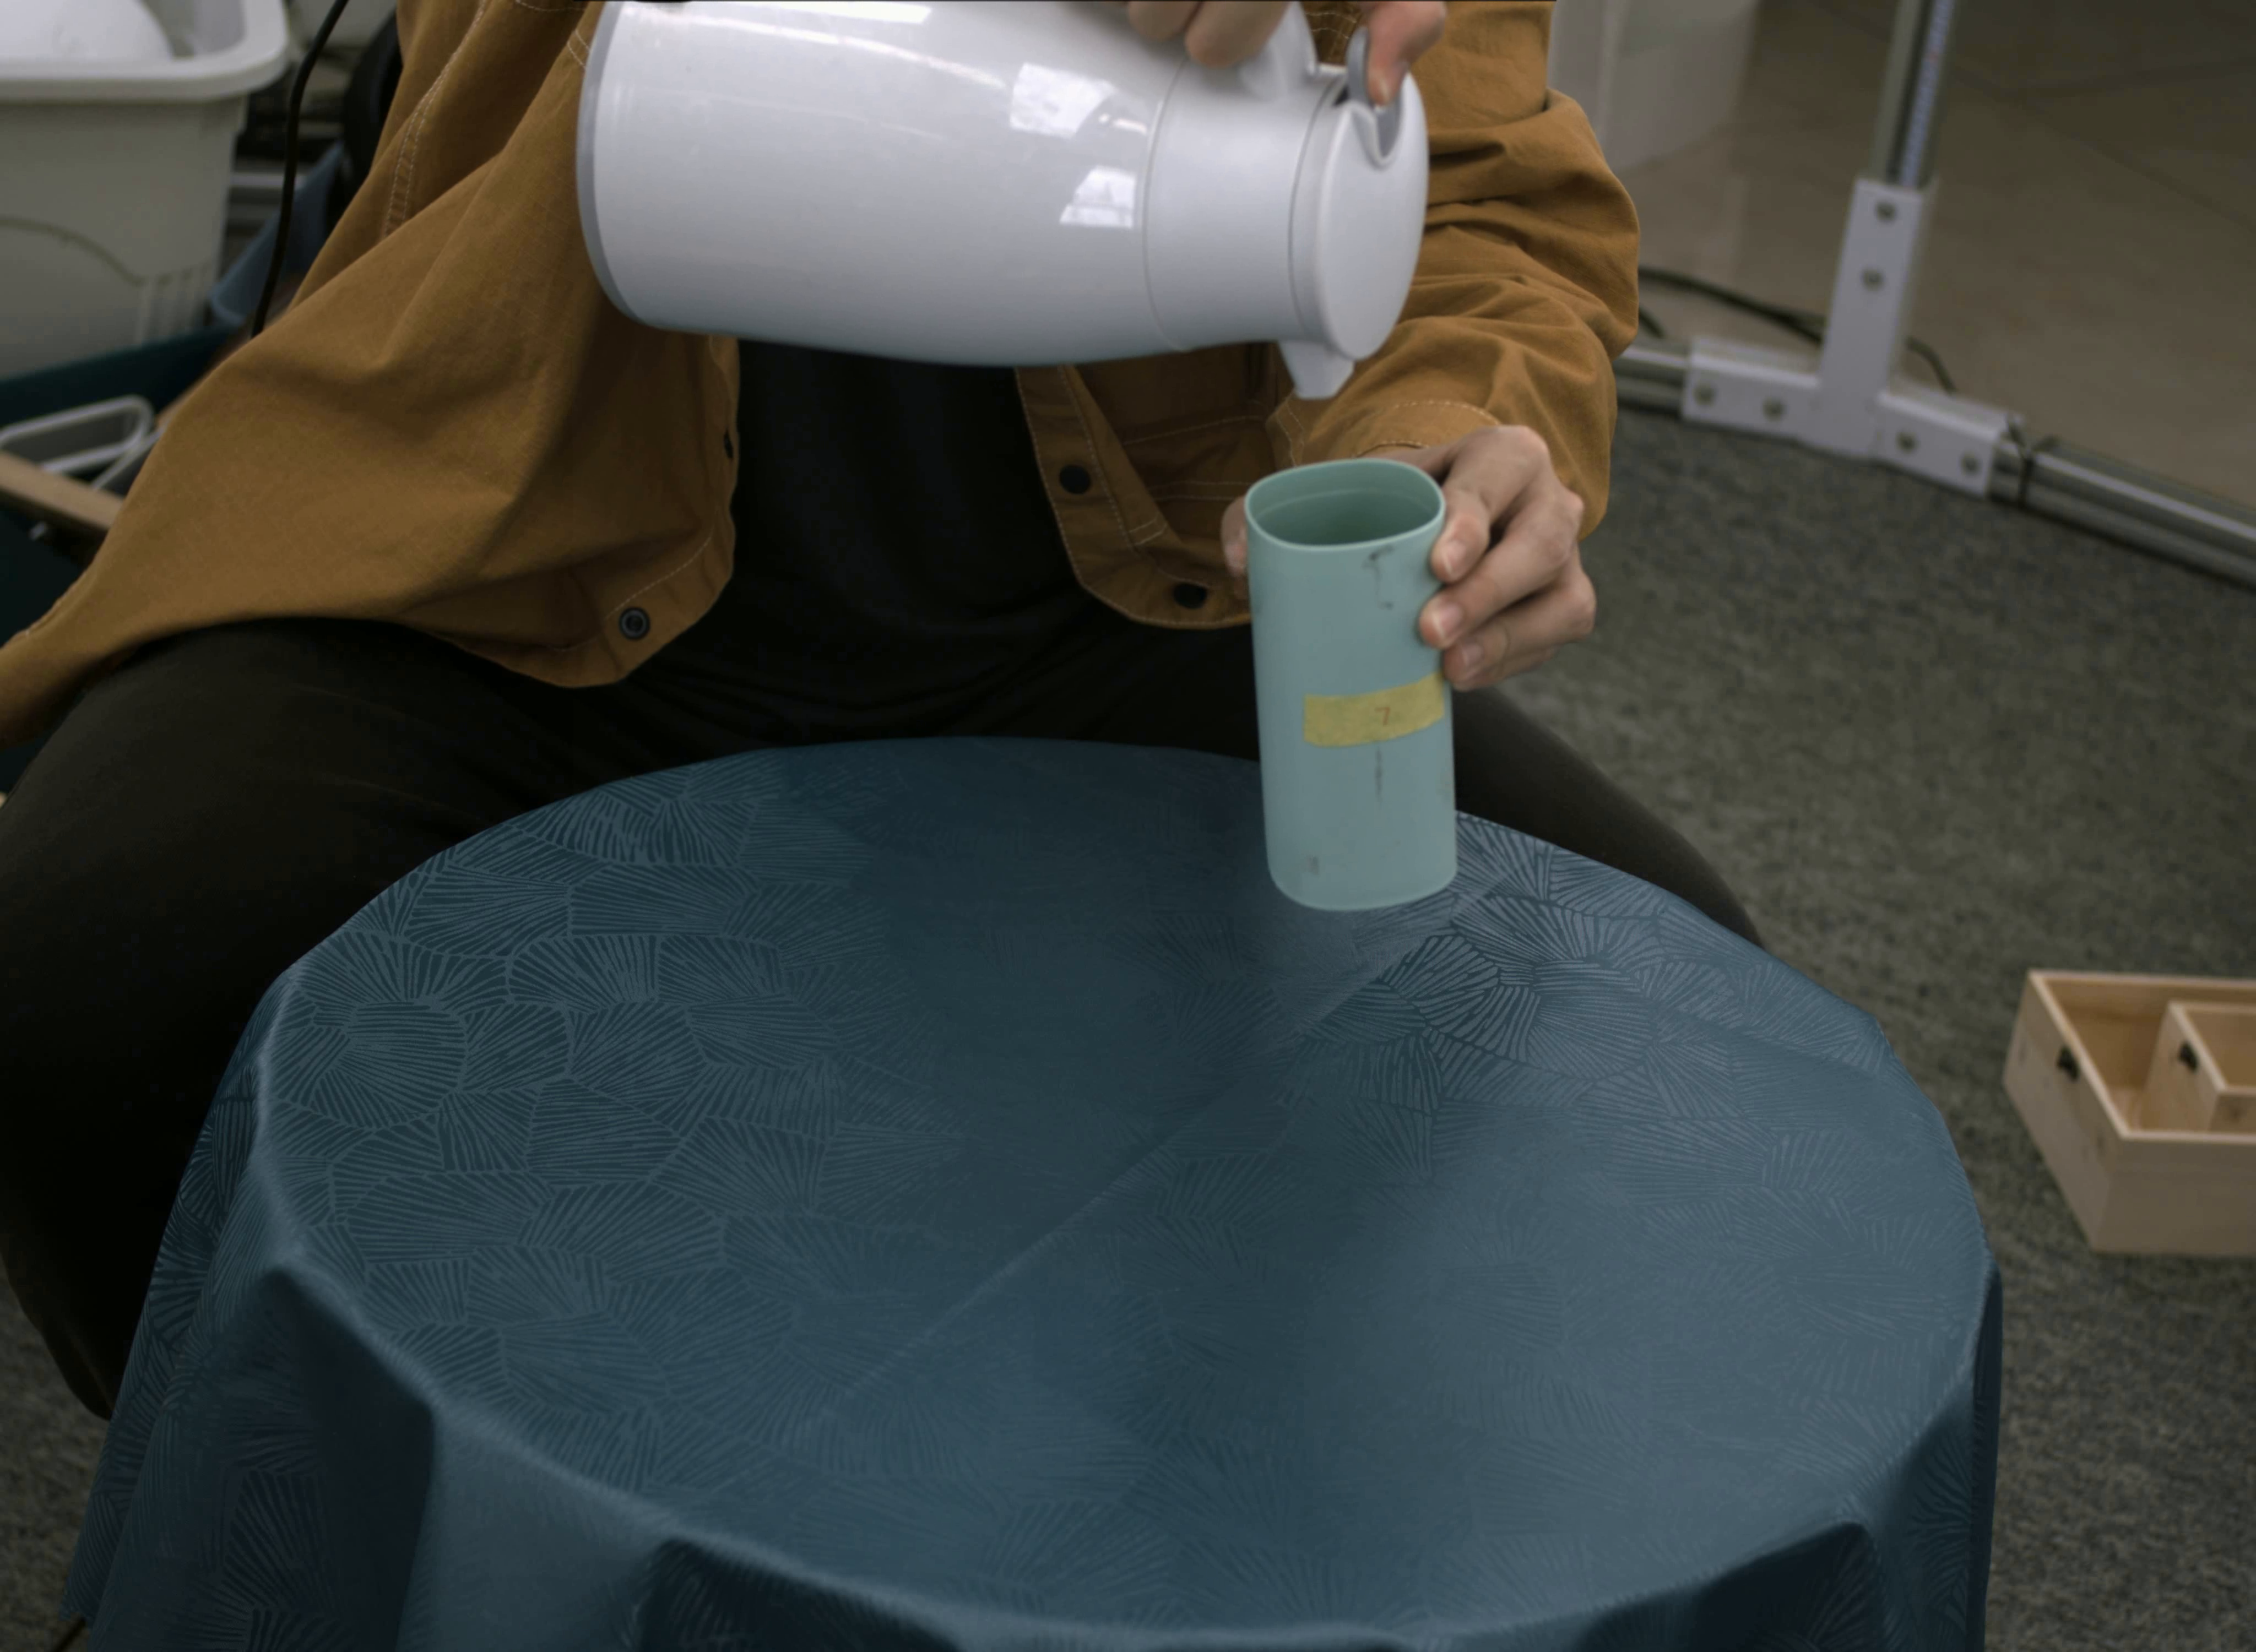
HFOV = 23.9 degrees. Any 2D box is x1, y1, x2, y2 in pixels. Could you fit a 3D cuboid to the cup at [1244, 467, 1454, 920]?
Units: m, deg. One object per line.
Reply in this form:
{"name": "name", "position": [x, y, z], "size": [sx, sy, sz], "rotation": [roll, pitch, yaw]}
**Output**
{"name": "cup", "position": [0.071, -0.043, 1.695], "size": [0.066, 0.132, 0.067], "rotation": [-3, 28, 1]}

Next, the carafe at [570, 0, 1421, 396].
{"name": "carafe", "position": [-0.036, -0.221, 1.645], "size": [0.249, 0.167, 0.133], "rotation": [10, 36, 22]}
